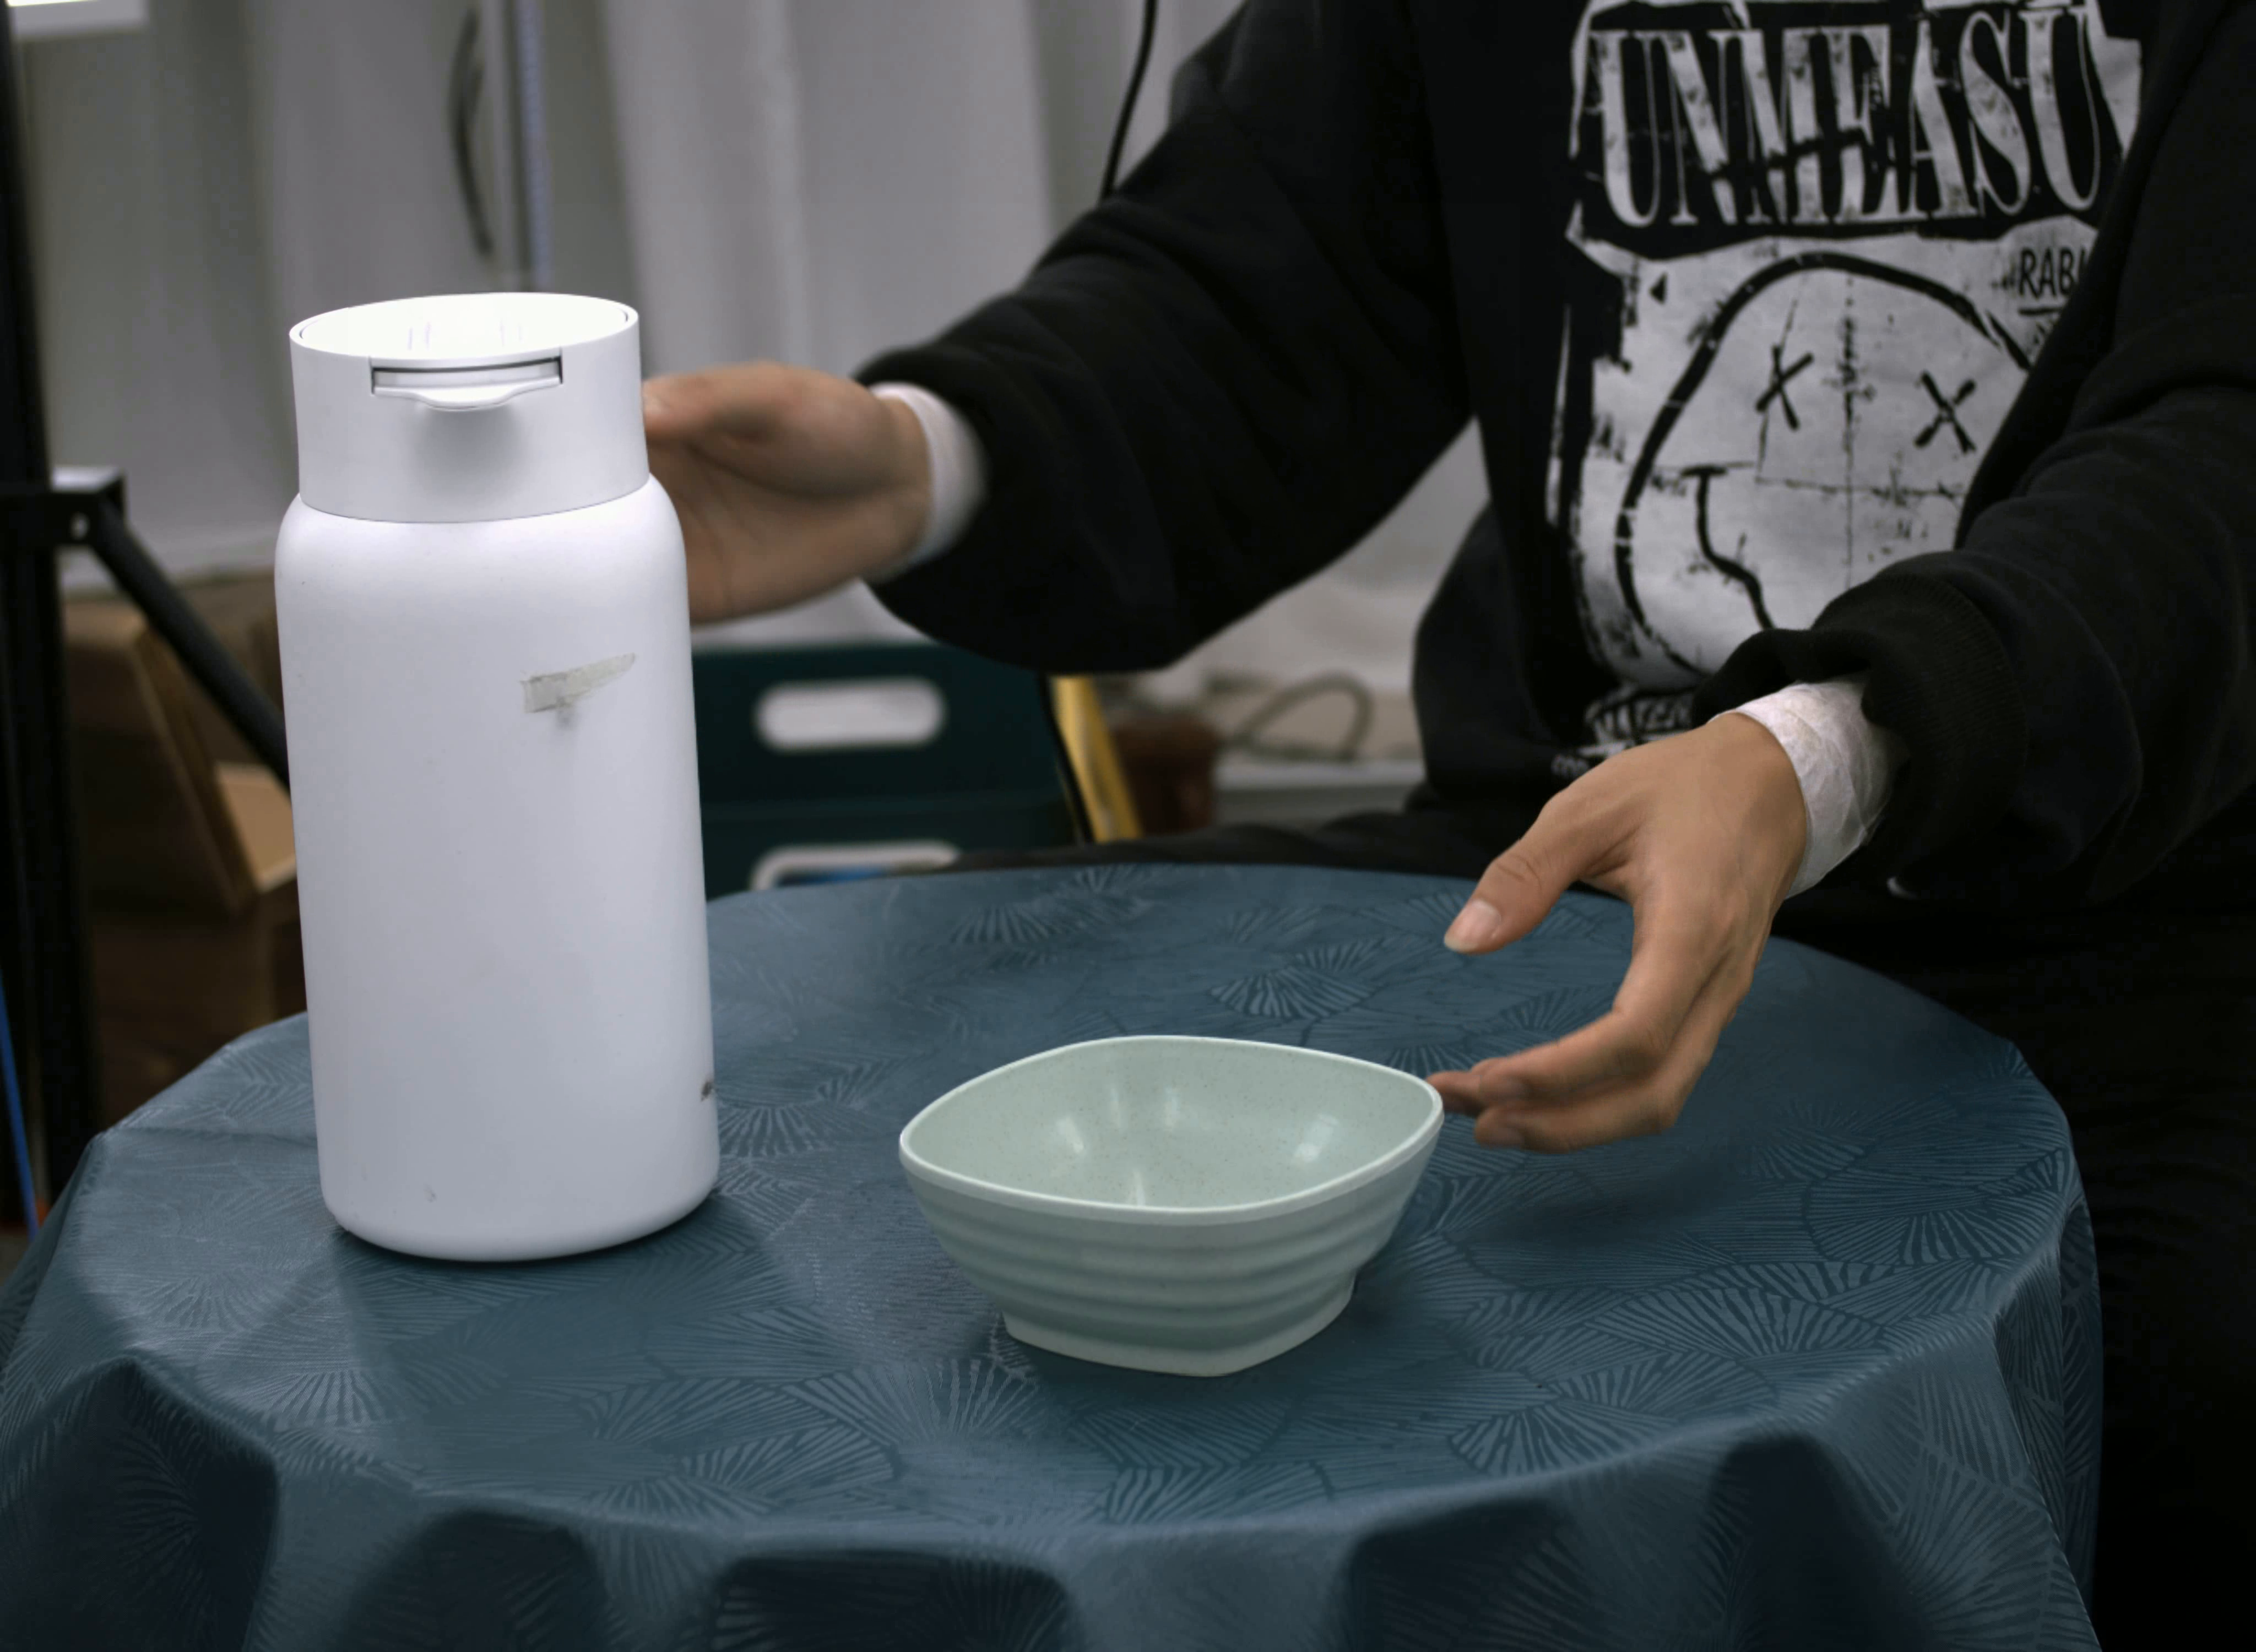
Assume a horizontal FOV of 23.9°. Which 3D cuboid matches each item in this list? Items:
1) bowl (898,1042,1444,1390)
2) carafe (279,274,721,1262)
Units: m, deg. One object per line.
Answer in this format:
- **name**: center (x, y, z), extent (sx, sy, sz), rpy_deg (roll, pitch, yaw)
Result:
- **bowl**: center (0.013, 0.110, 1.451), extent (0.150, 0.058, 0.152), rpy_deg (-2, 16, -1)
- **carafe**: center (-0.185, -0.021, 1.554), extent (0.123, 0.269, 0.174), rpy_deg (-6, 15, -6)
